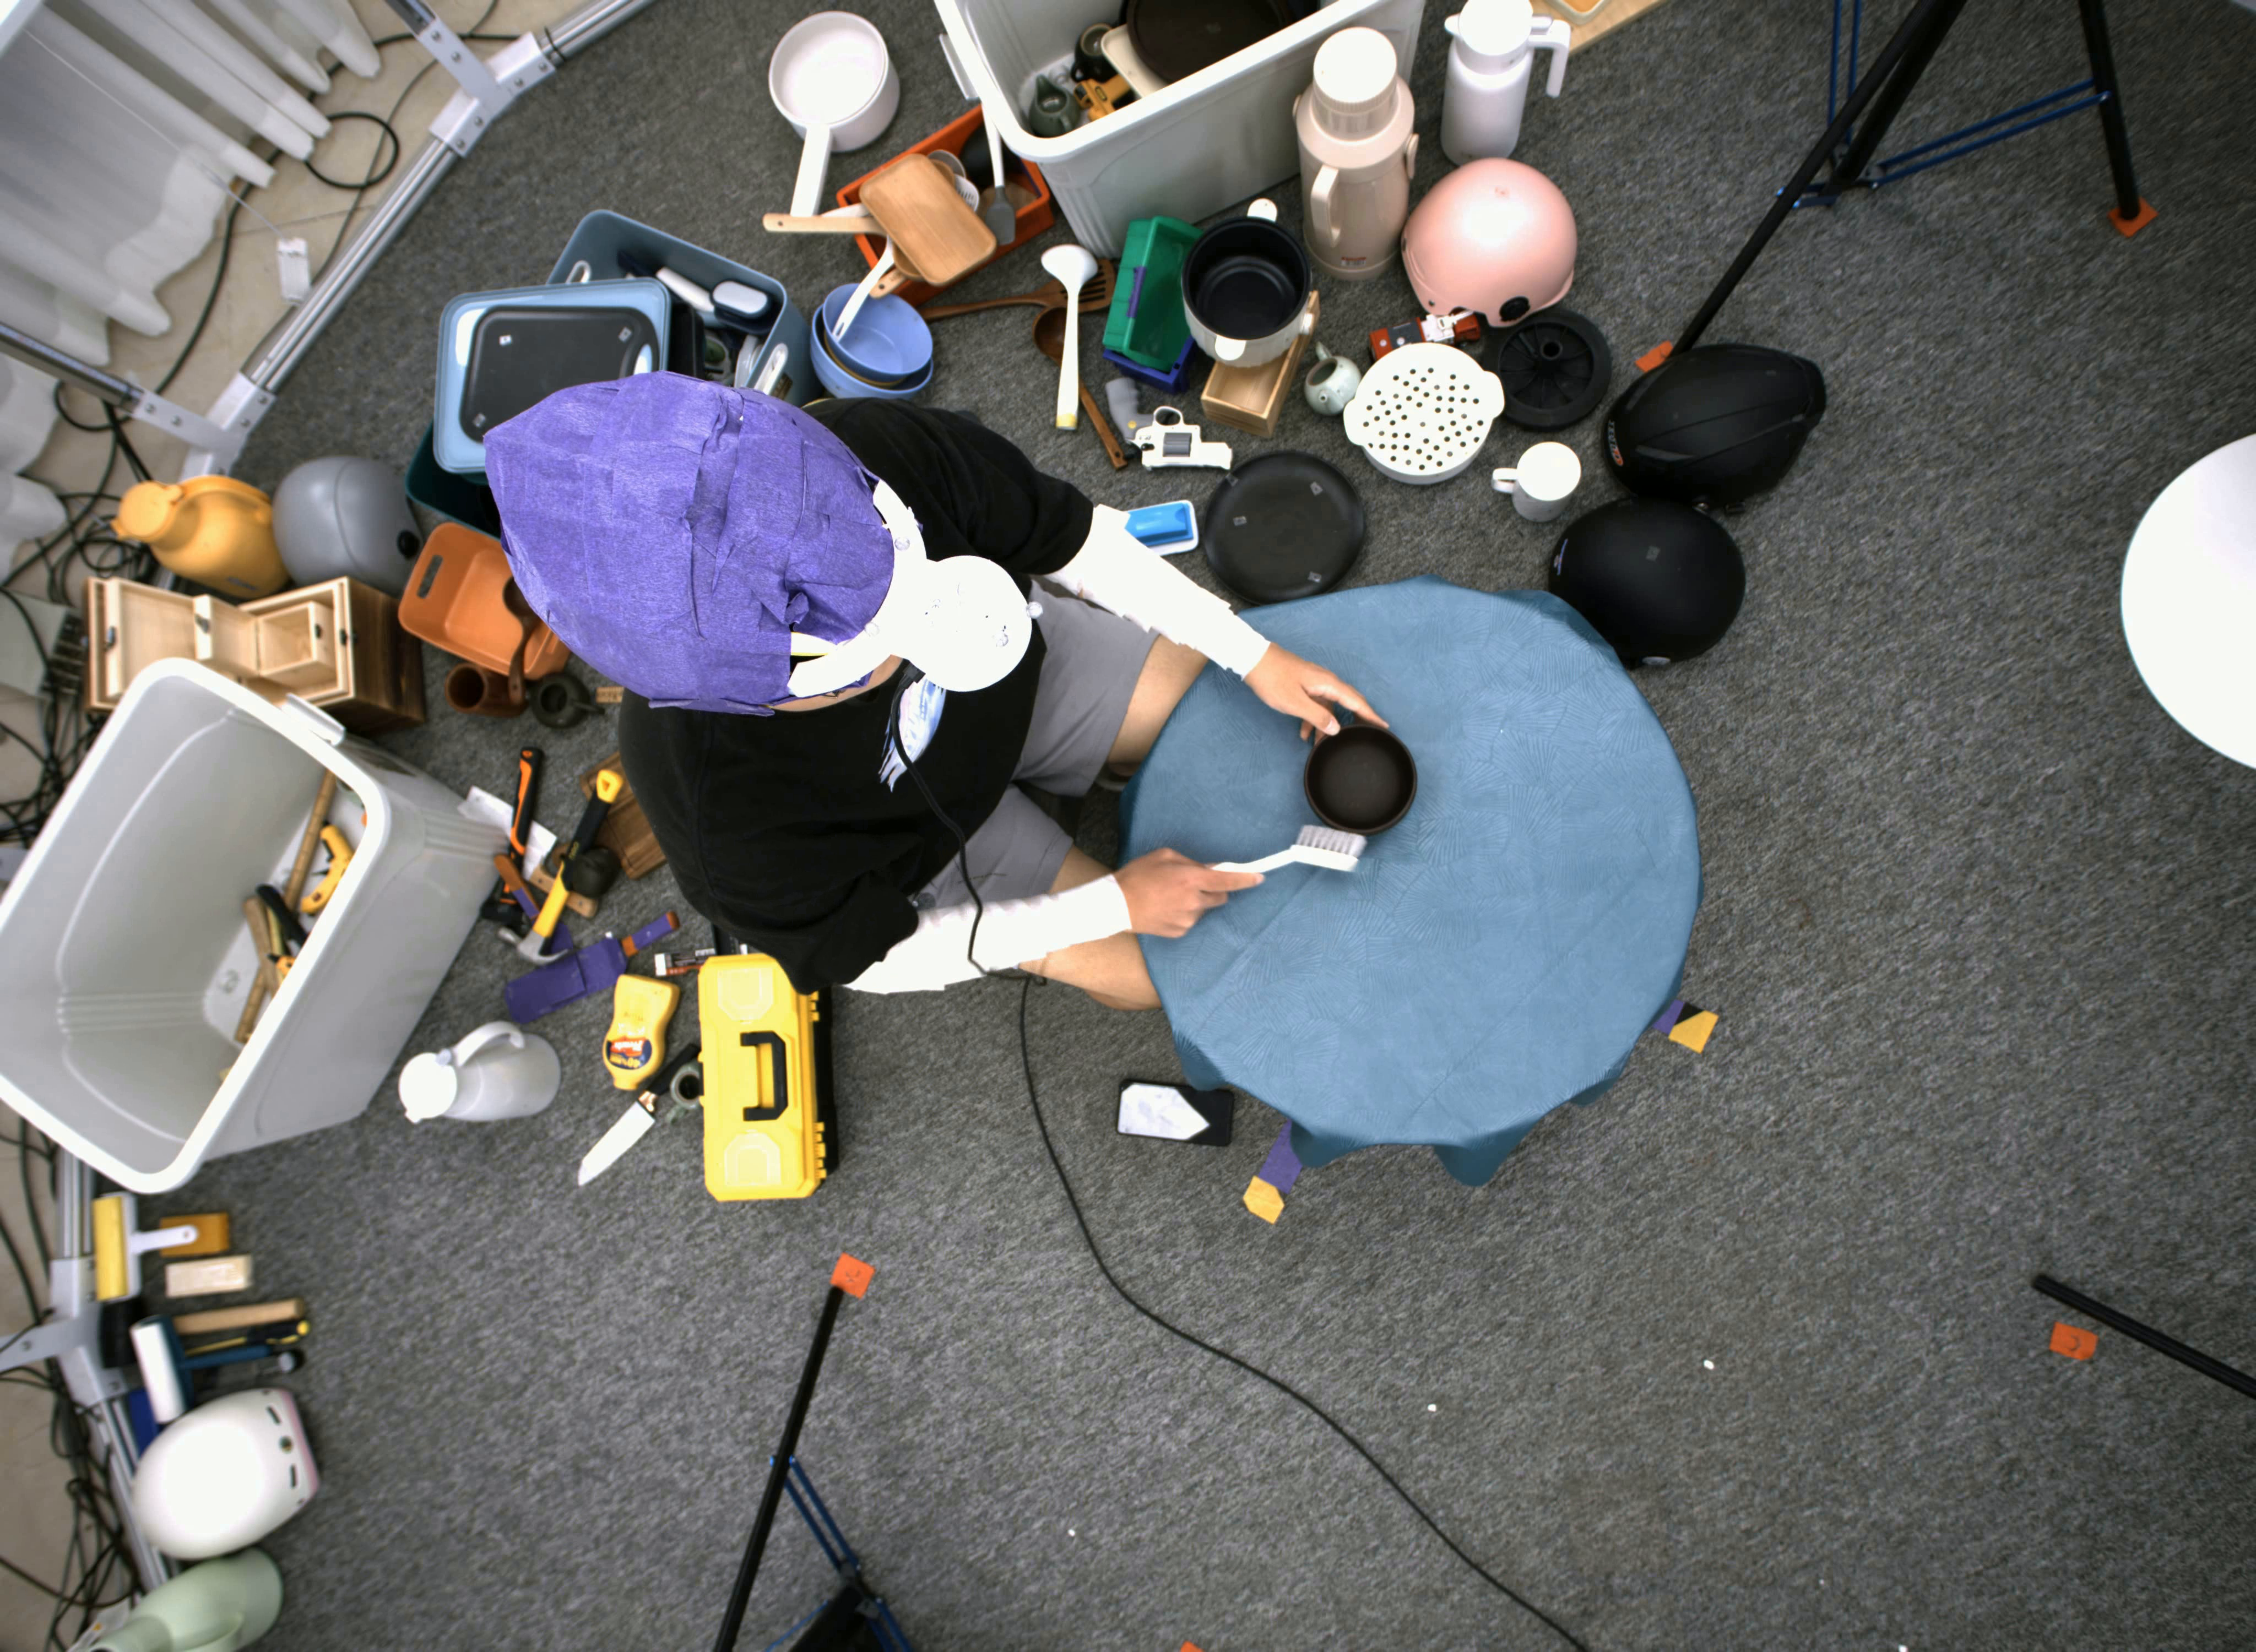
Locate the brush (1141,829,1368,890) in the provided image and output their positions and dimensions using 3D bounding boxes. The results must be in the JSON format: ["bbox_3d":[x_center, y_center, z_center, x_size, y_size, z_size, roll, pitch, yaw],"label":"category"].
[{"bbox_3d":[0.130,0.034,1.452,0.245,0.034,0.049,-6,74,21],"label":"brush"}]

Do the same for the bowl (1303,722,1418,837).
[{"bbox_3d":[0.242,-0.047,1.433,0.118,0.070,0.117,-1,86,13],"label":"bowl"}]
